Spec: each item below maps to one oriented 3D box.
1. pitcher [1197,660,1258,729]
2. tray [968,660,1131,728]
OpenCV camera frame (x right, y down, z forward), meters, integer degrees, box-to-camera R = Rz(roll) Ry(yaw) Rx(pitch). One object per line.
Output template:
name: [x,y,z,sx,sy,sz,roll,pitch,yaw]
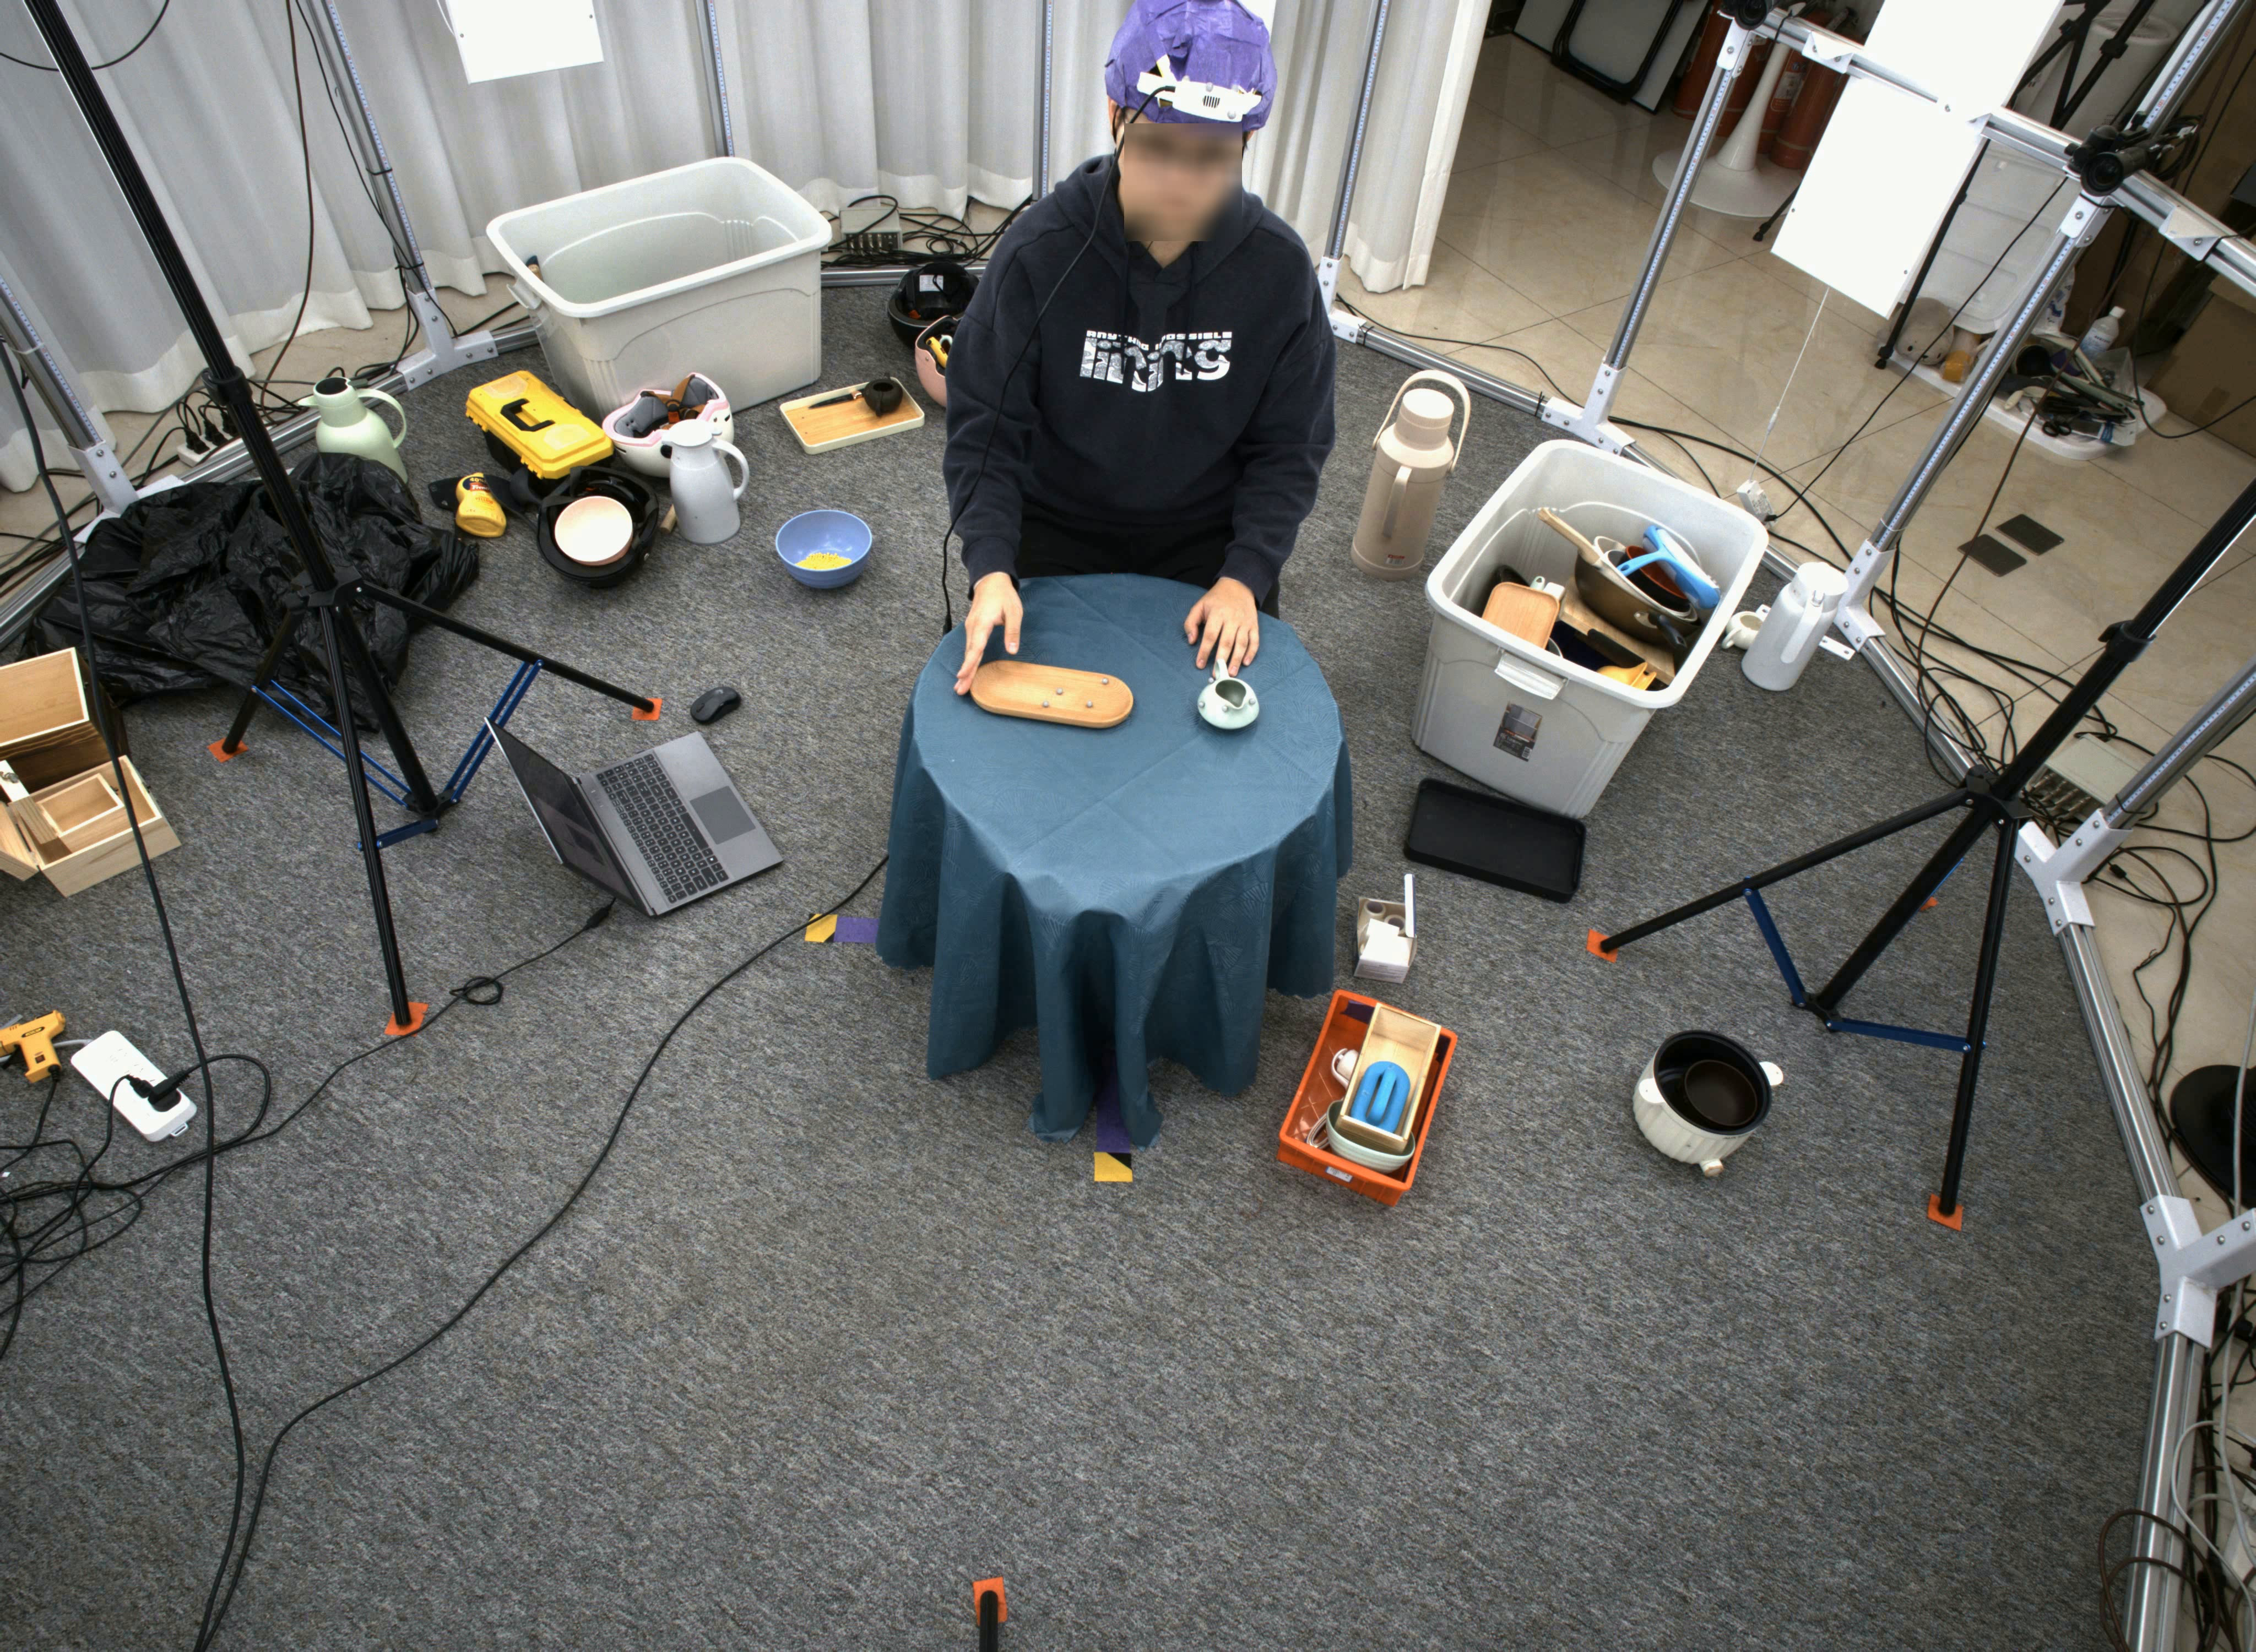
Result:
pitcher: [0.138,-0.183,1.799,0.086,0.059,0.111,-8,48,-13]
tray: [-0.110,-0.186,1.807,0.231,0.020,0.104,7,49,4]
